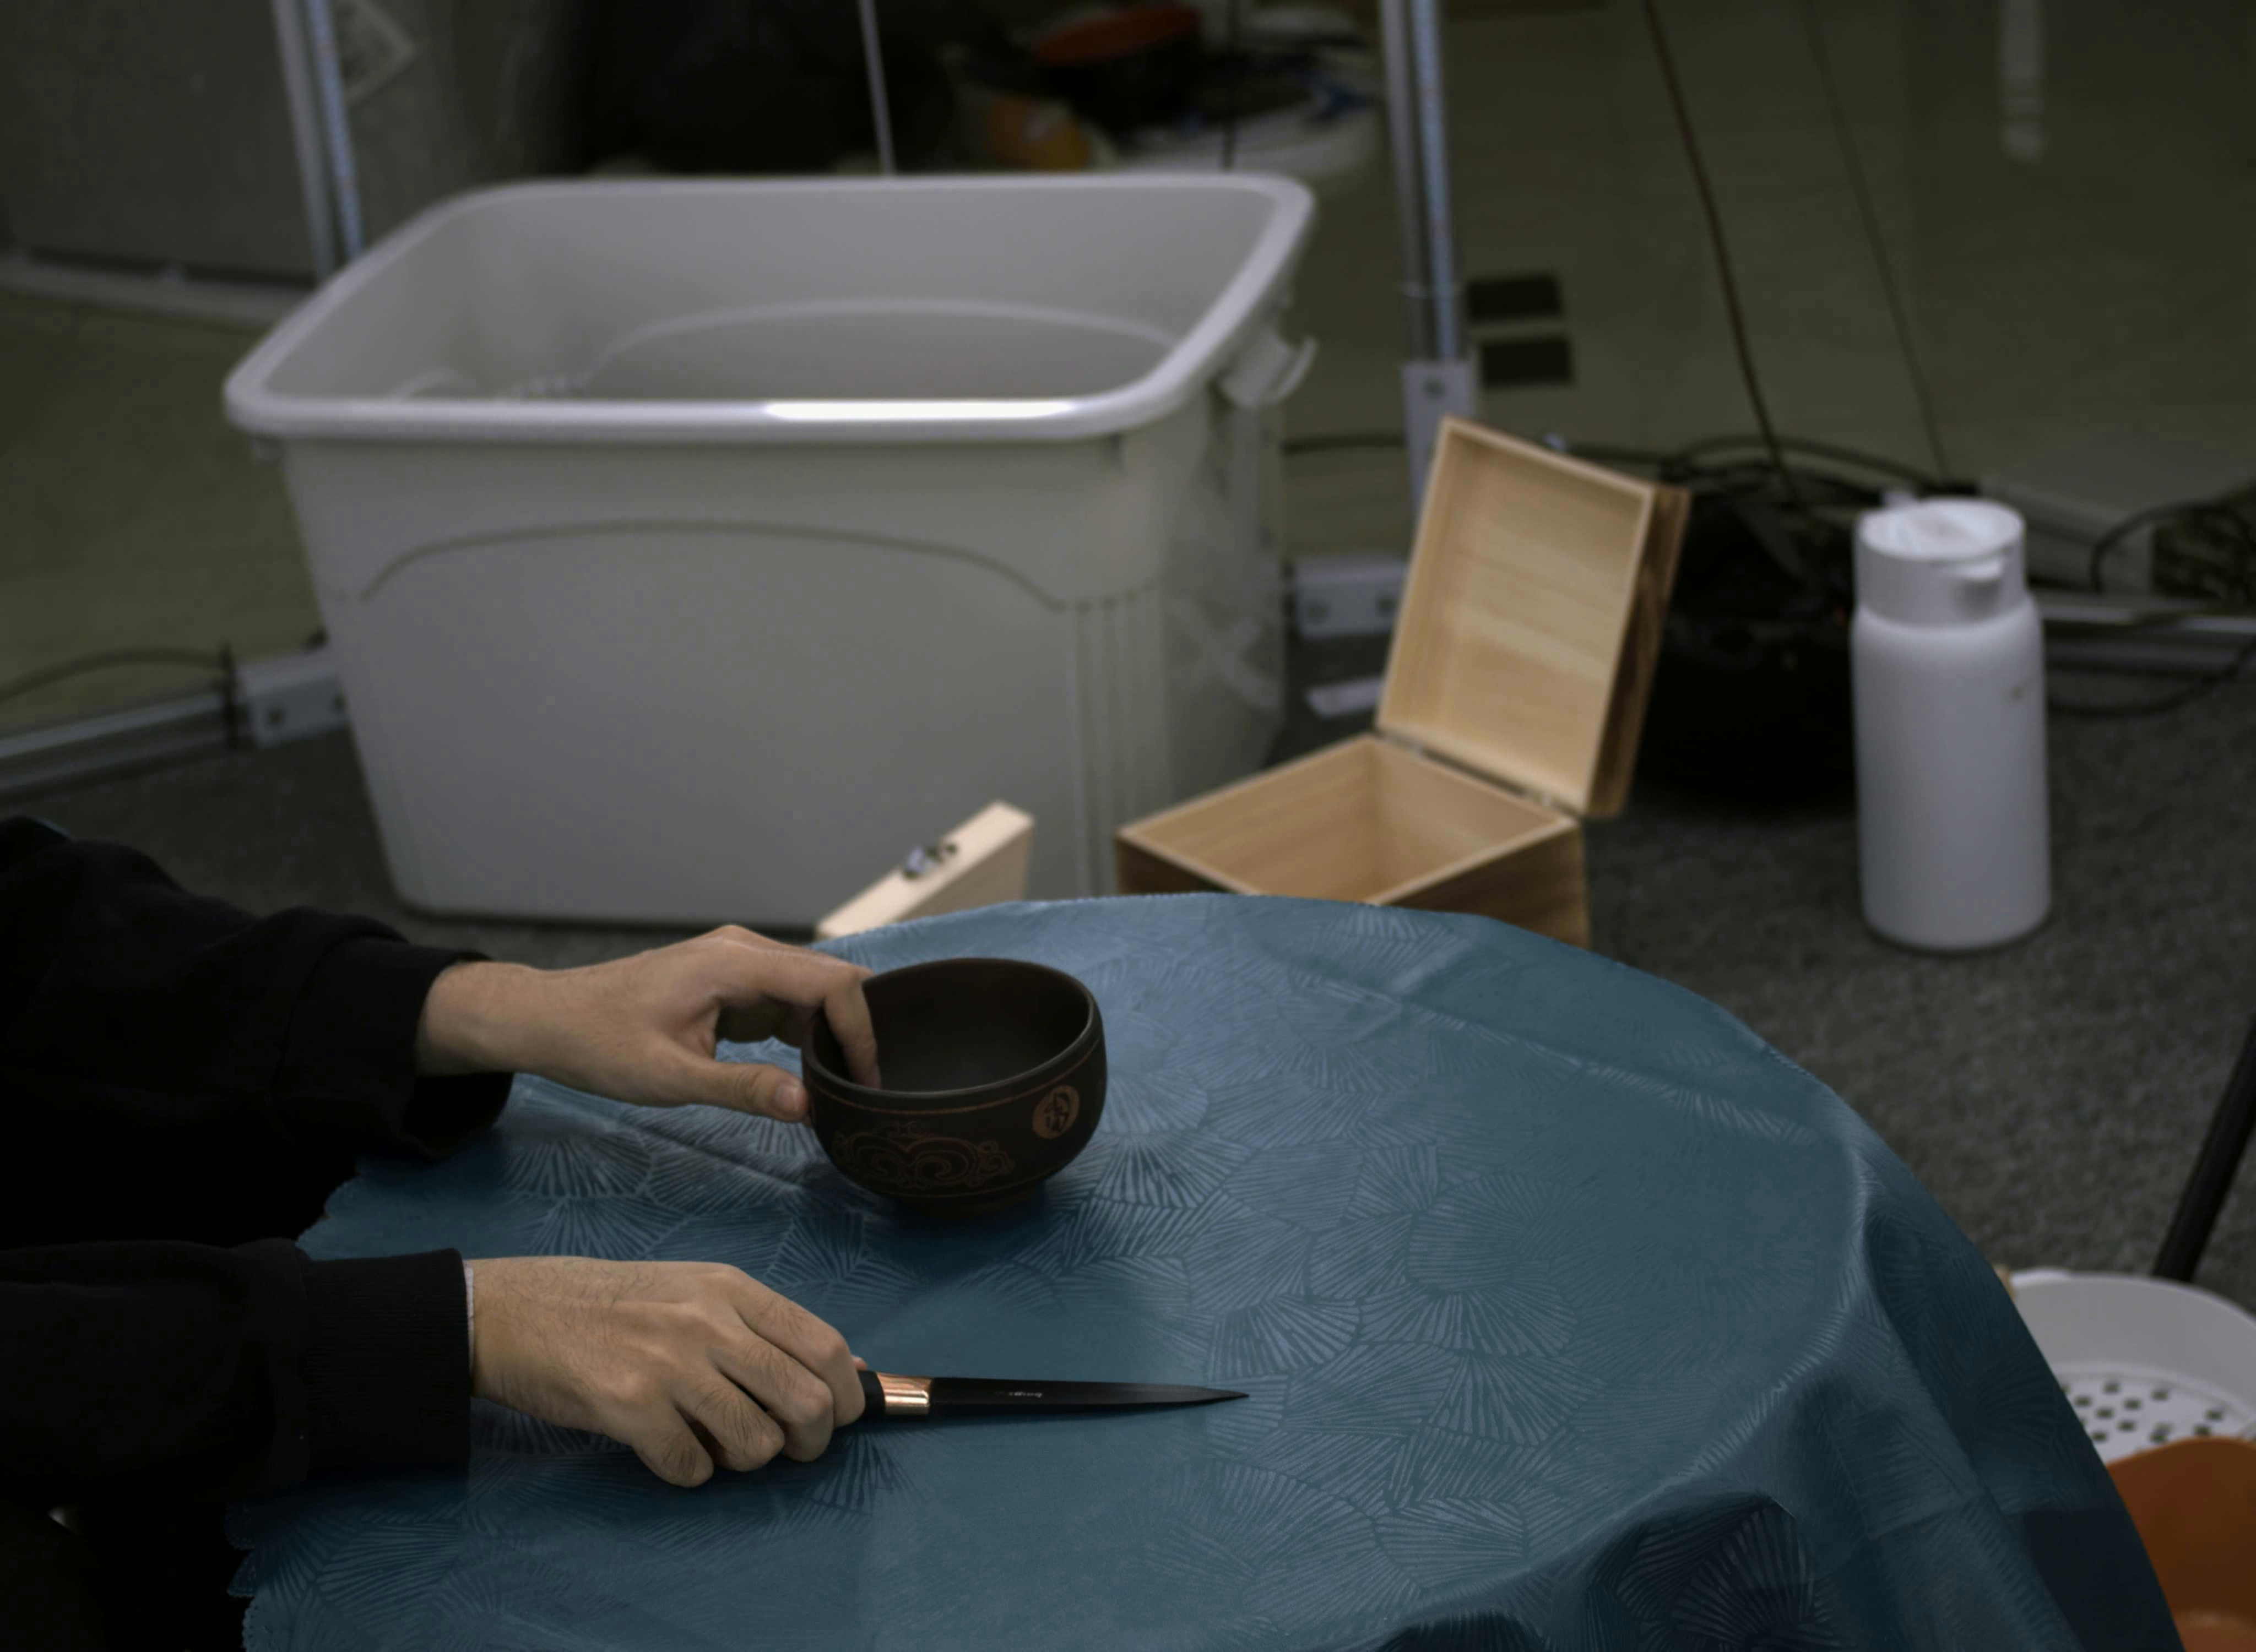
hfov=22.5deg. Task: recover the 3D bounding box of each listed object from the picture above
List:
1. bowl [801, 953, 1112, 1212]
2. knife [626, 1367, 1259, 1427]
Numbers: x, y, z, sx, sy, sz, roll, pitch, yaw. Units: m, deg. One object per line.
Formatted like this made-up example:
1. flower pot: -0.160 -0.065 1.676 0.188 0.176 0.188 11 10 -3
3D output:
1. bowl: -0.063 0.103 2.149 0.118 0.071 0.116 -6 23 3
2. knife: -0.066 0.201 2.017 0.225 0.017 0.026 -2 17 4
